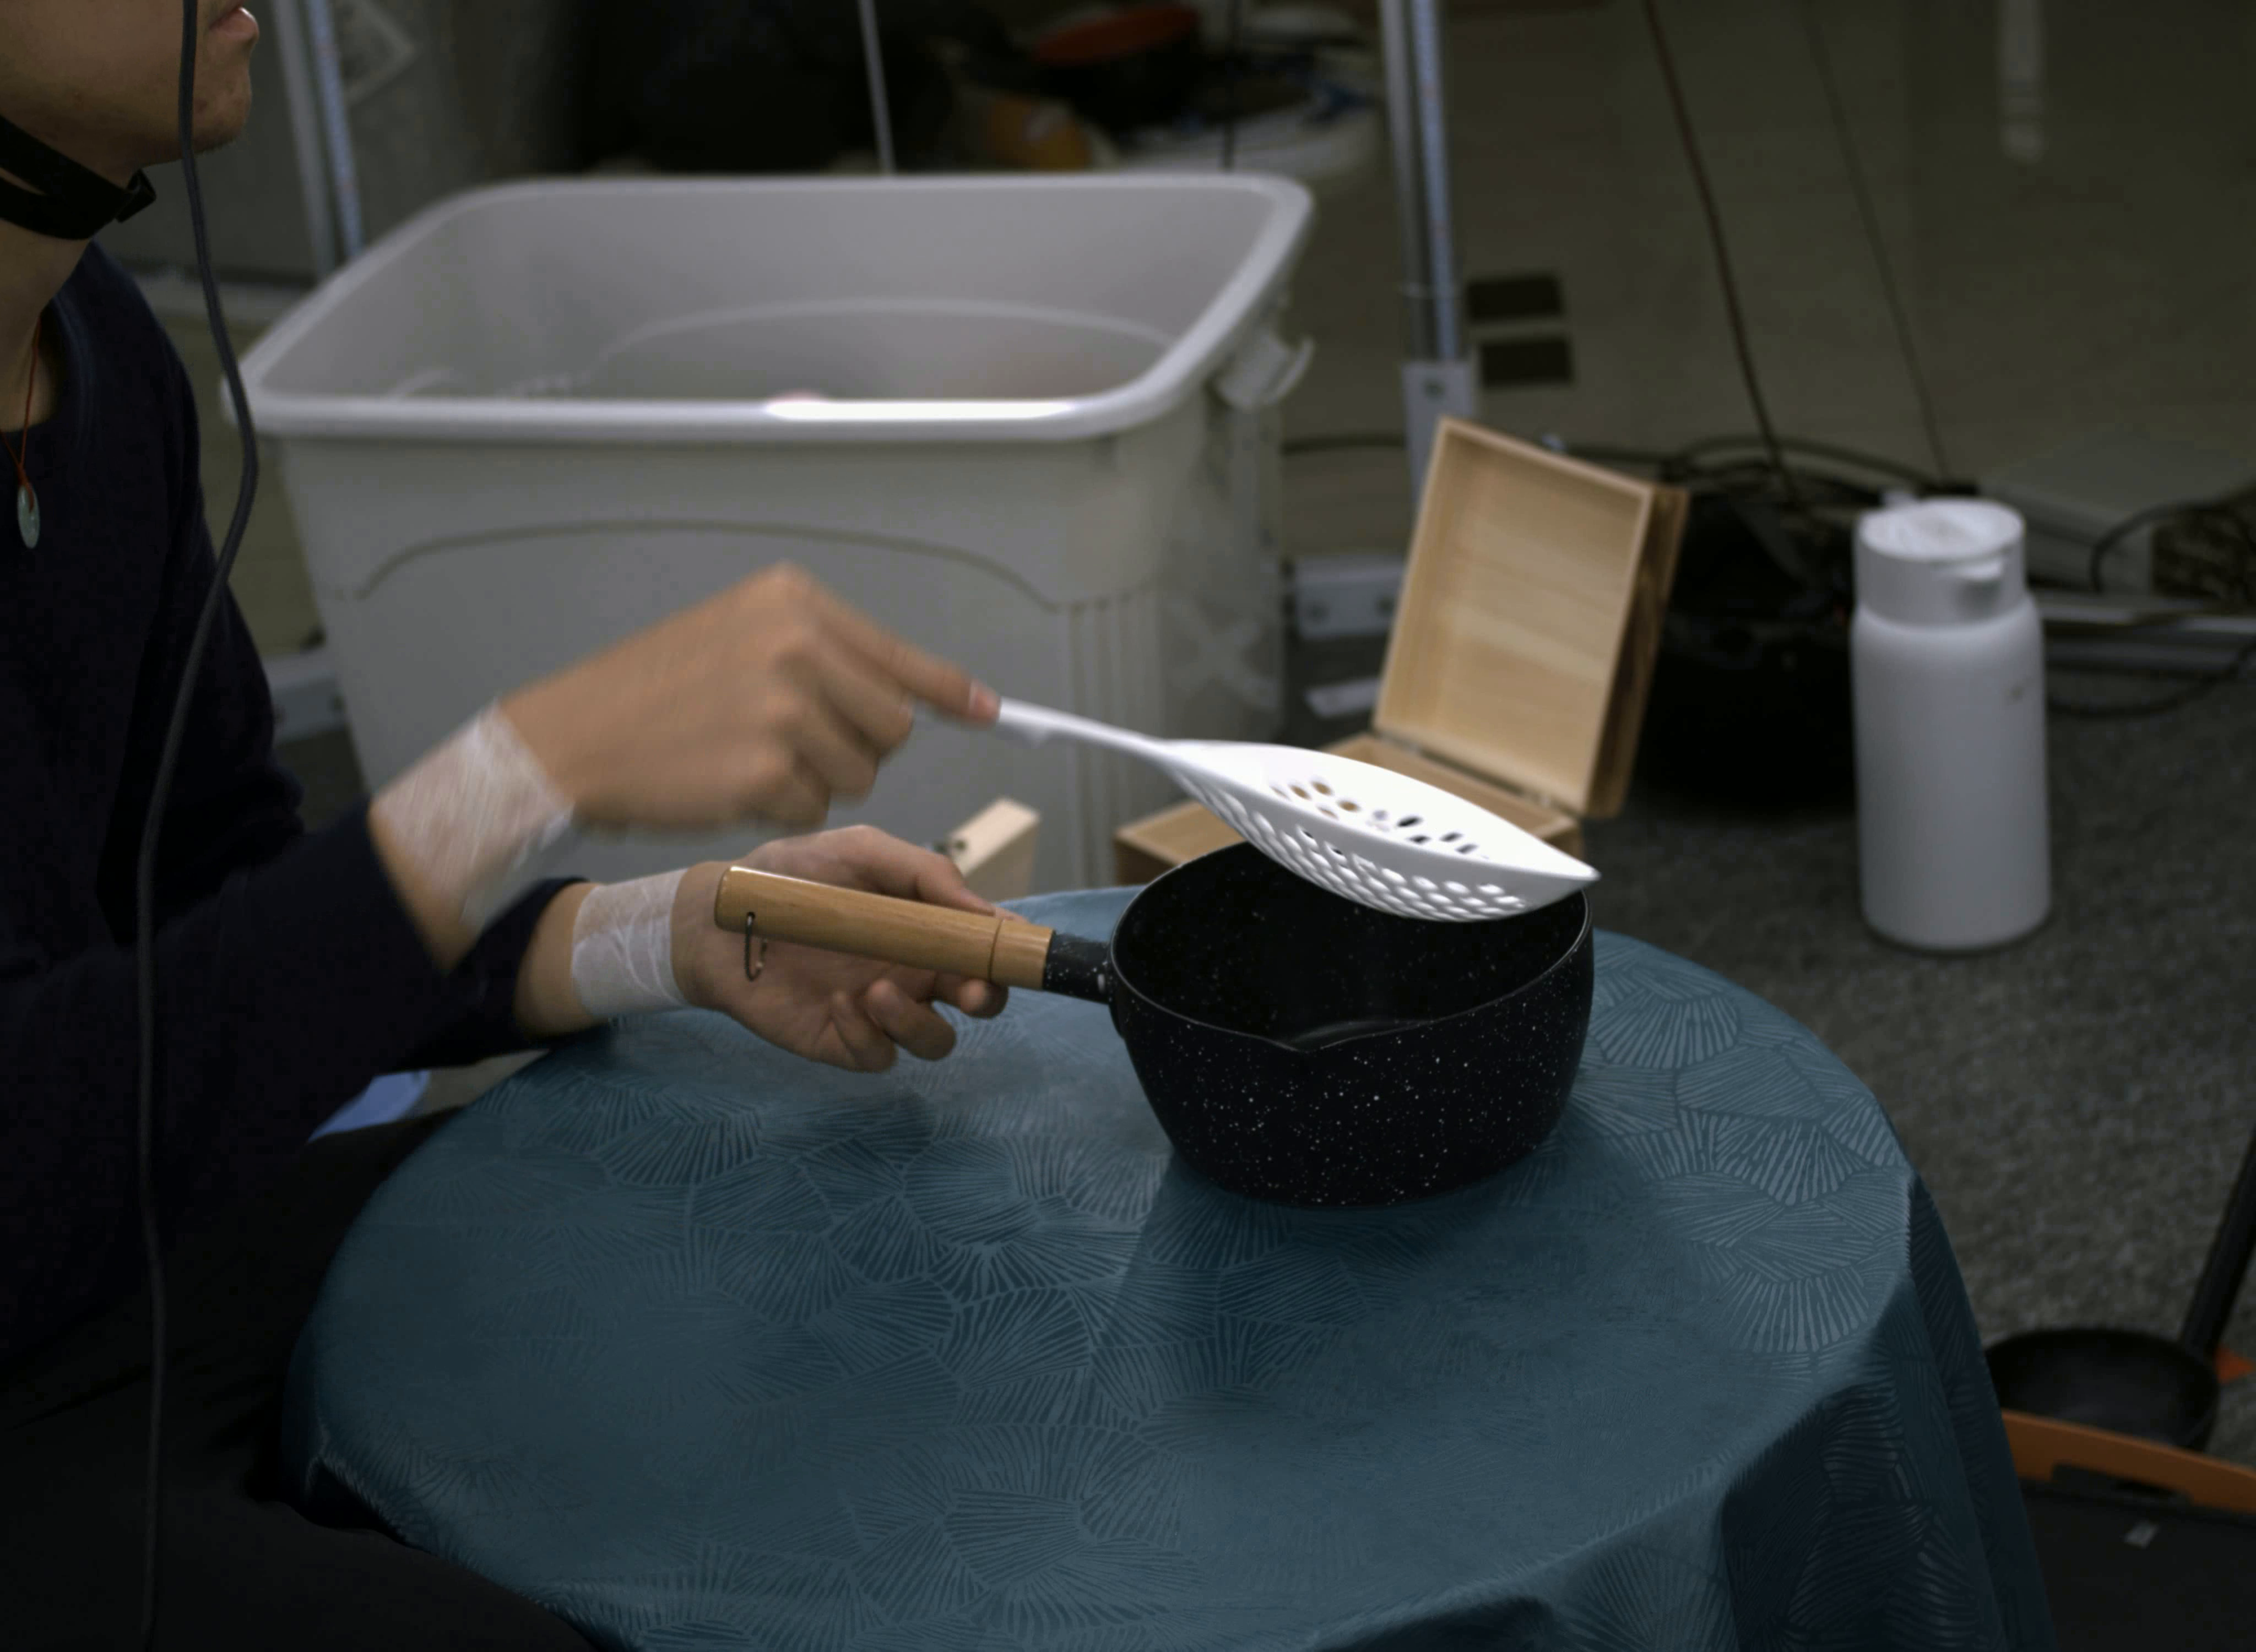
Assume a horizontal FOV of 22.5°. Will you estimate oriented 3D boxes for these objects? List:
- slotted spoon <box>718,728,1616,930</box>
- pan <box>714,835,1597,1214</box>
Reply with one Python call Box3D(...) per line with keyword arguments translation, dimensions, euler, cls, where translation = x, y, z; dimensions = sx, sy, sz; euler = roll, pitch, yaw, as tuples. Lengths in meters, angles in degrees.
Box3D(translation=(0.012, -0.009, 1.946), dimensions=(0.349, 0.050, 0.135), euler=(14, 11, -34), cls="slotted spoon")
Box3D(translation=(0.009, 0.065, 2.172), dimensions=(0.342, 0.110, 0.204), euler=(0, 27, 11), cls="pan")
